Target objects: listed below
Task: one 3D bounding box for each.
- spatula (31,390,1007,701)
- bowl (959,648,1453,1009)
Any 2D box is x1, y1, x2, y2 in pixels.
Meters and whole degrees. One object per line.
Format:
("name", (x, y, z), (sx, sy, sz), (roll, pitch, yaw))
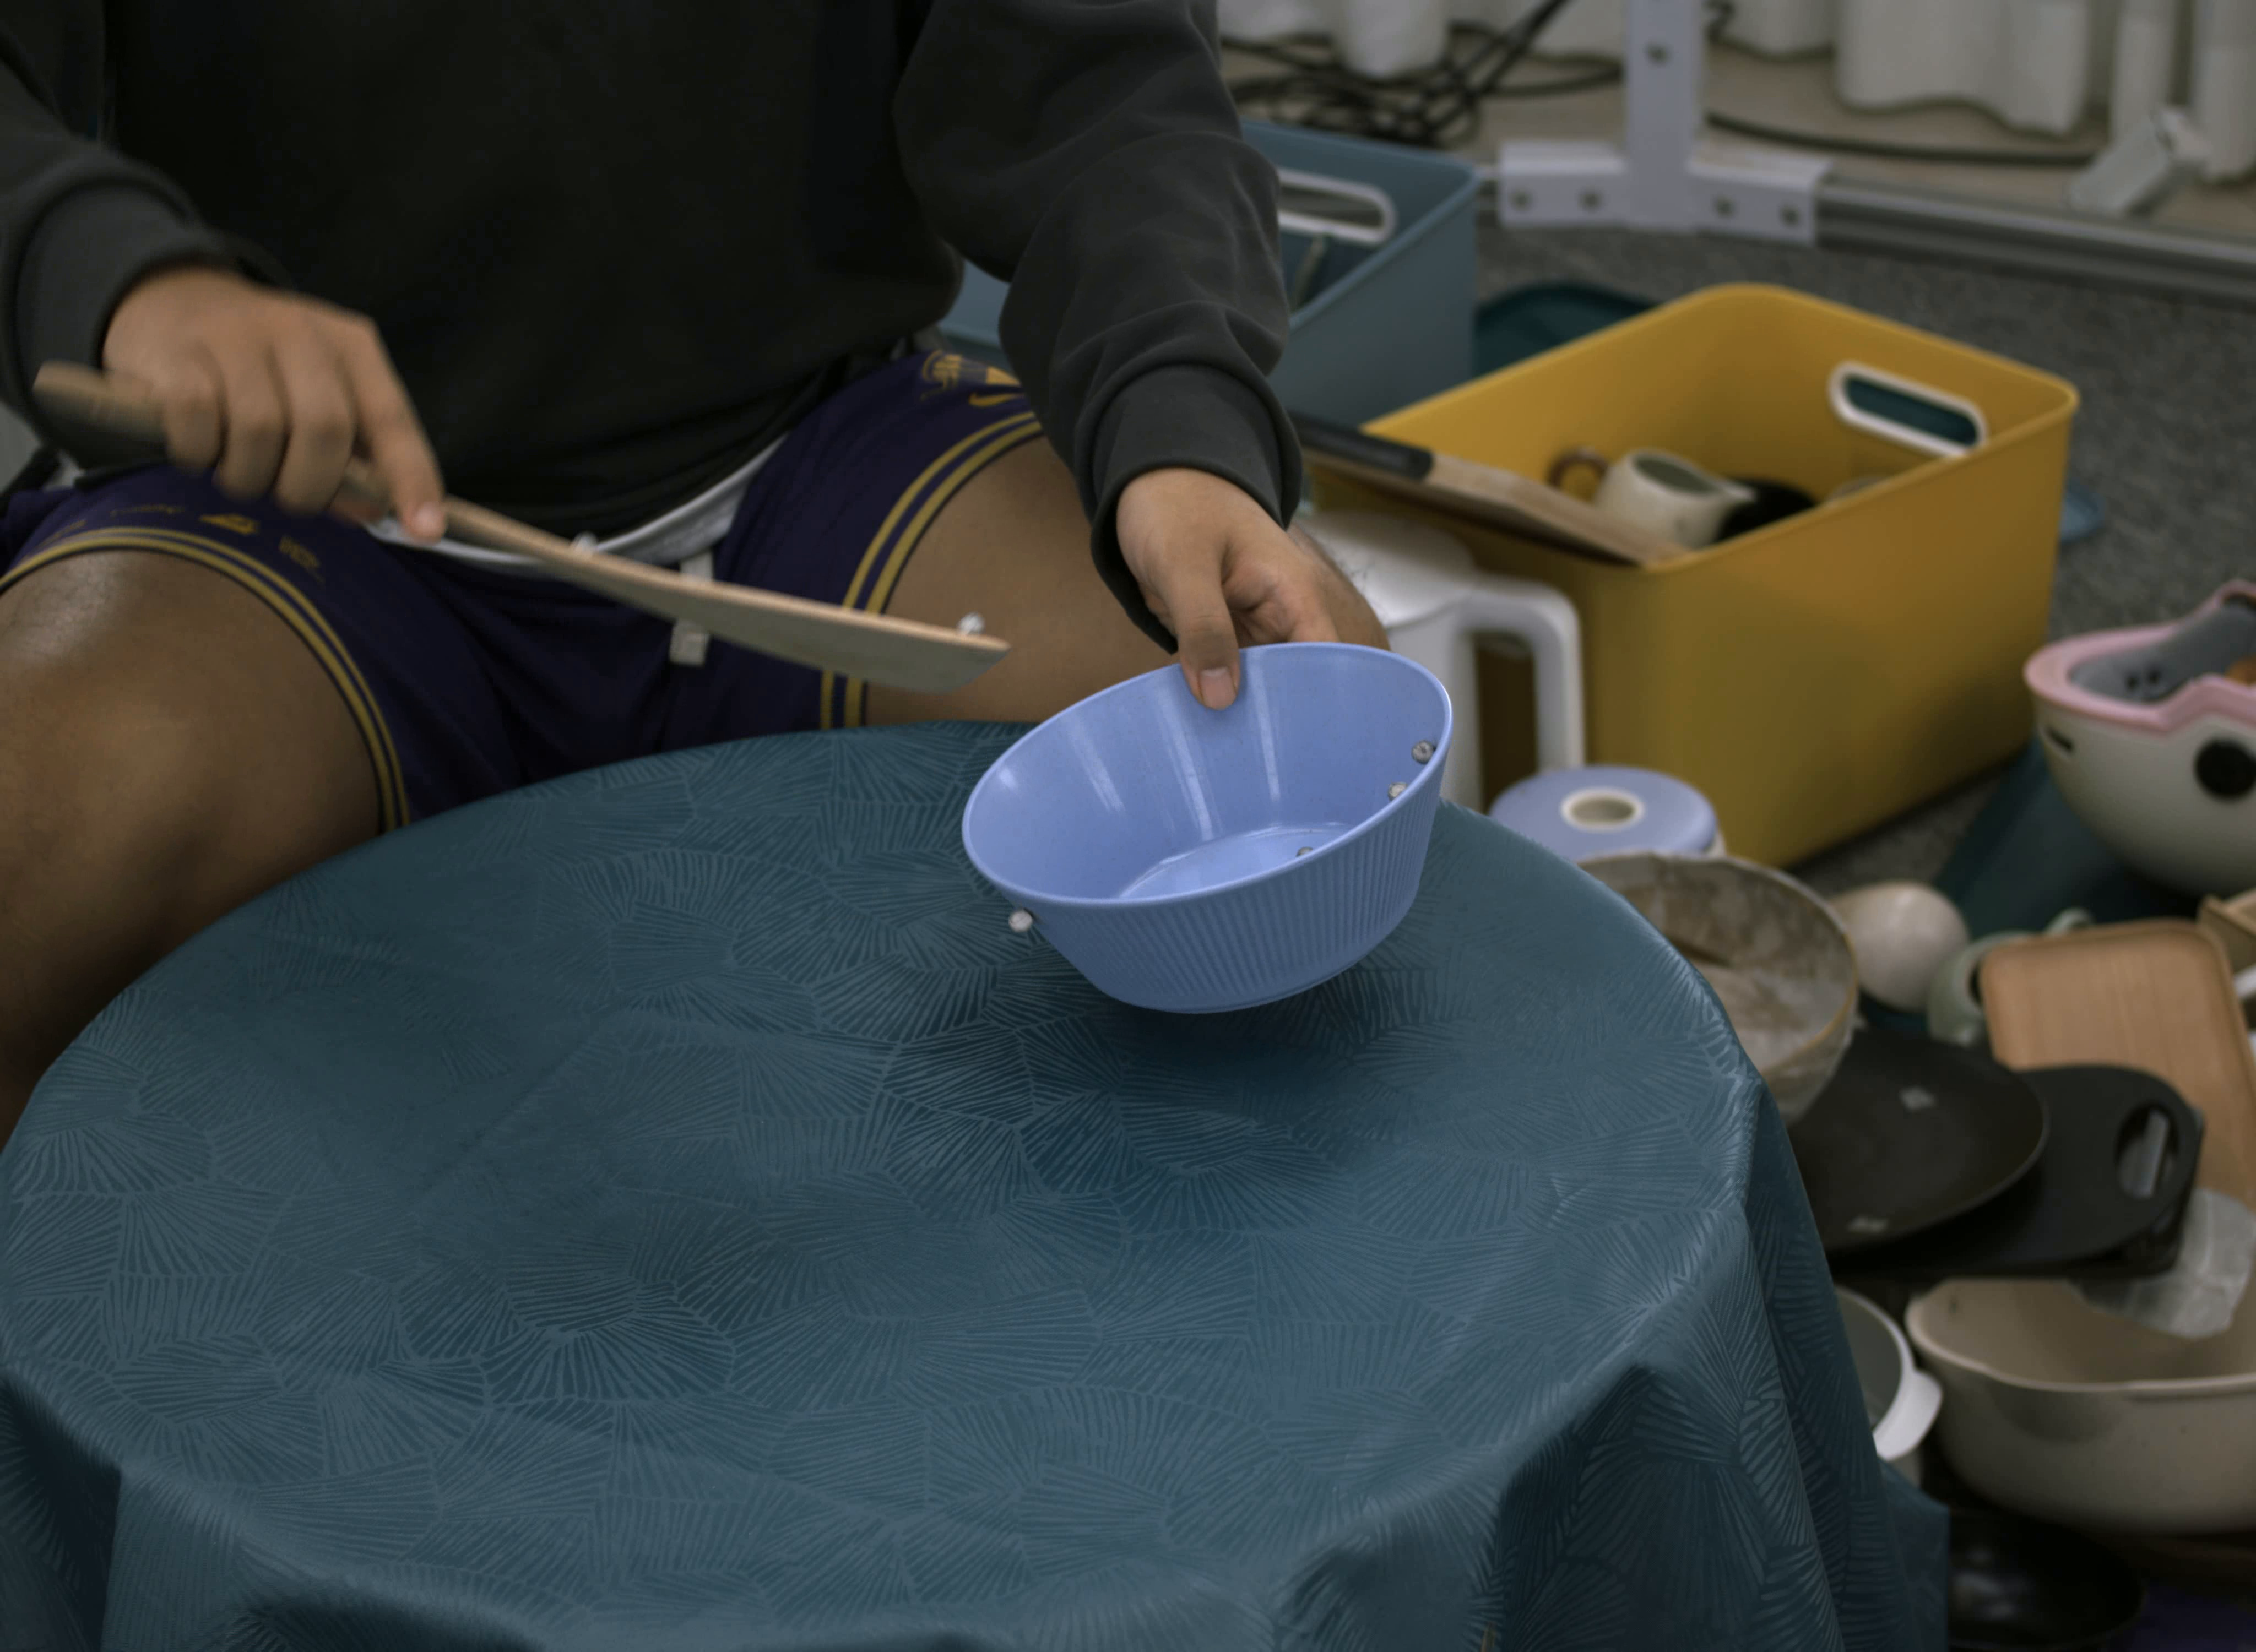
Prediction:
("spatula", (-0.199, -0.091, 1.837), (0.326, 0.017, 0.079), (18, -14, -2))
("bowl", (0.034, 0.007, 1.953), (0.175, 0.069, 0.179), (-12, 26, 6))
